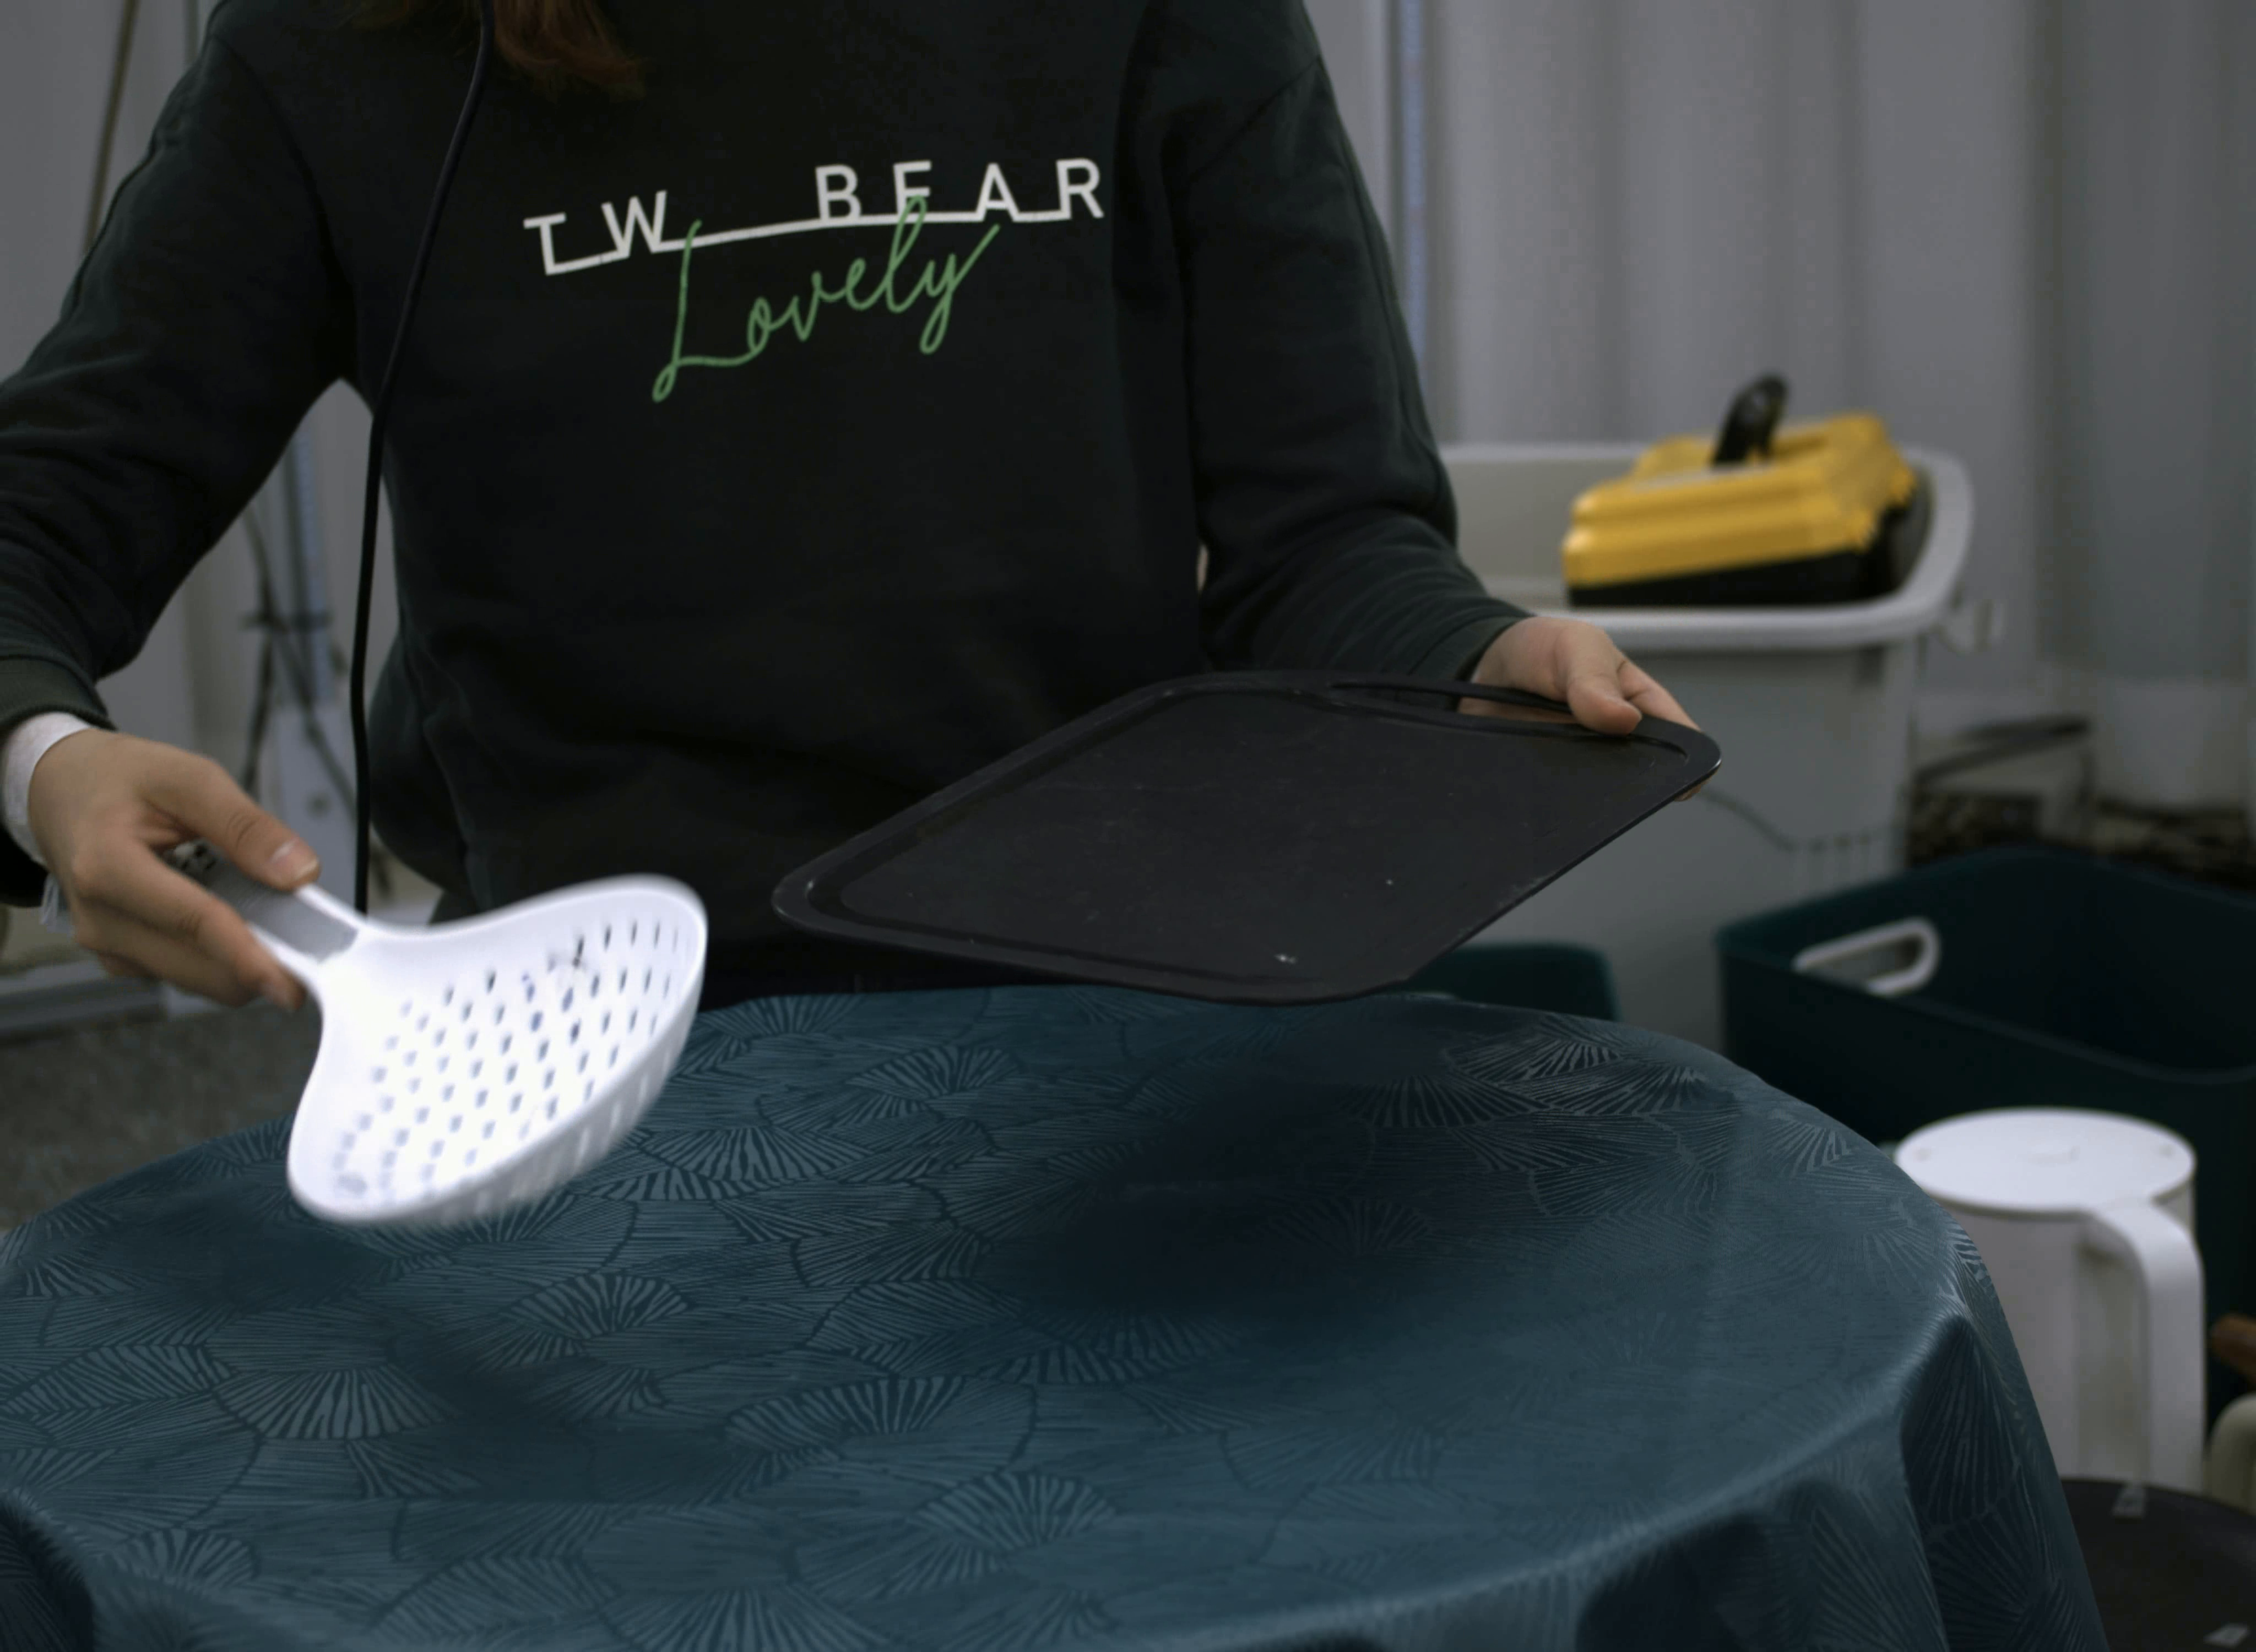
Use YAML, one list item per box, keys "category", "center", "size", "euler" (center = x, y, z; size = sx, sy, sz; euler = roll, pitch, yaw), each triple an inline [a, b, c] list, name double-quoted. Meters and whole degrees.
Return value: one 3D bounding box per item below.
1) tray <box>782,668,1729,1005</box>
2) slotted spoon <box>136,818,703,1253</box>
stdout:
- category: "tray"
  center: [0.048, -0.005, 1.700]
  size: [0.212, 0.010, 0.326]
  euler: [8, 20, 28]
- category: "slotted spoon"
  center: [-0.226, 0.049, 1.617]
  size: [0.136, 0.045, 0.353]
  euler: [-38, 32, -15]
